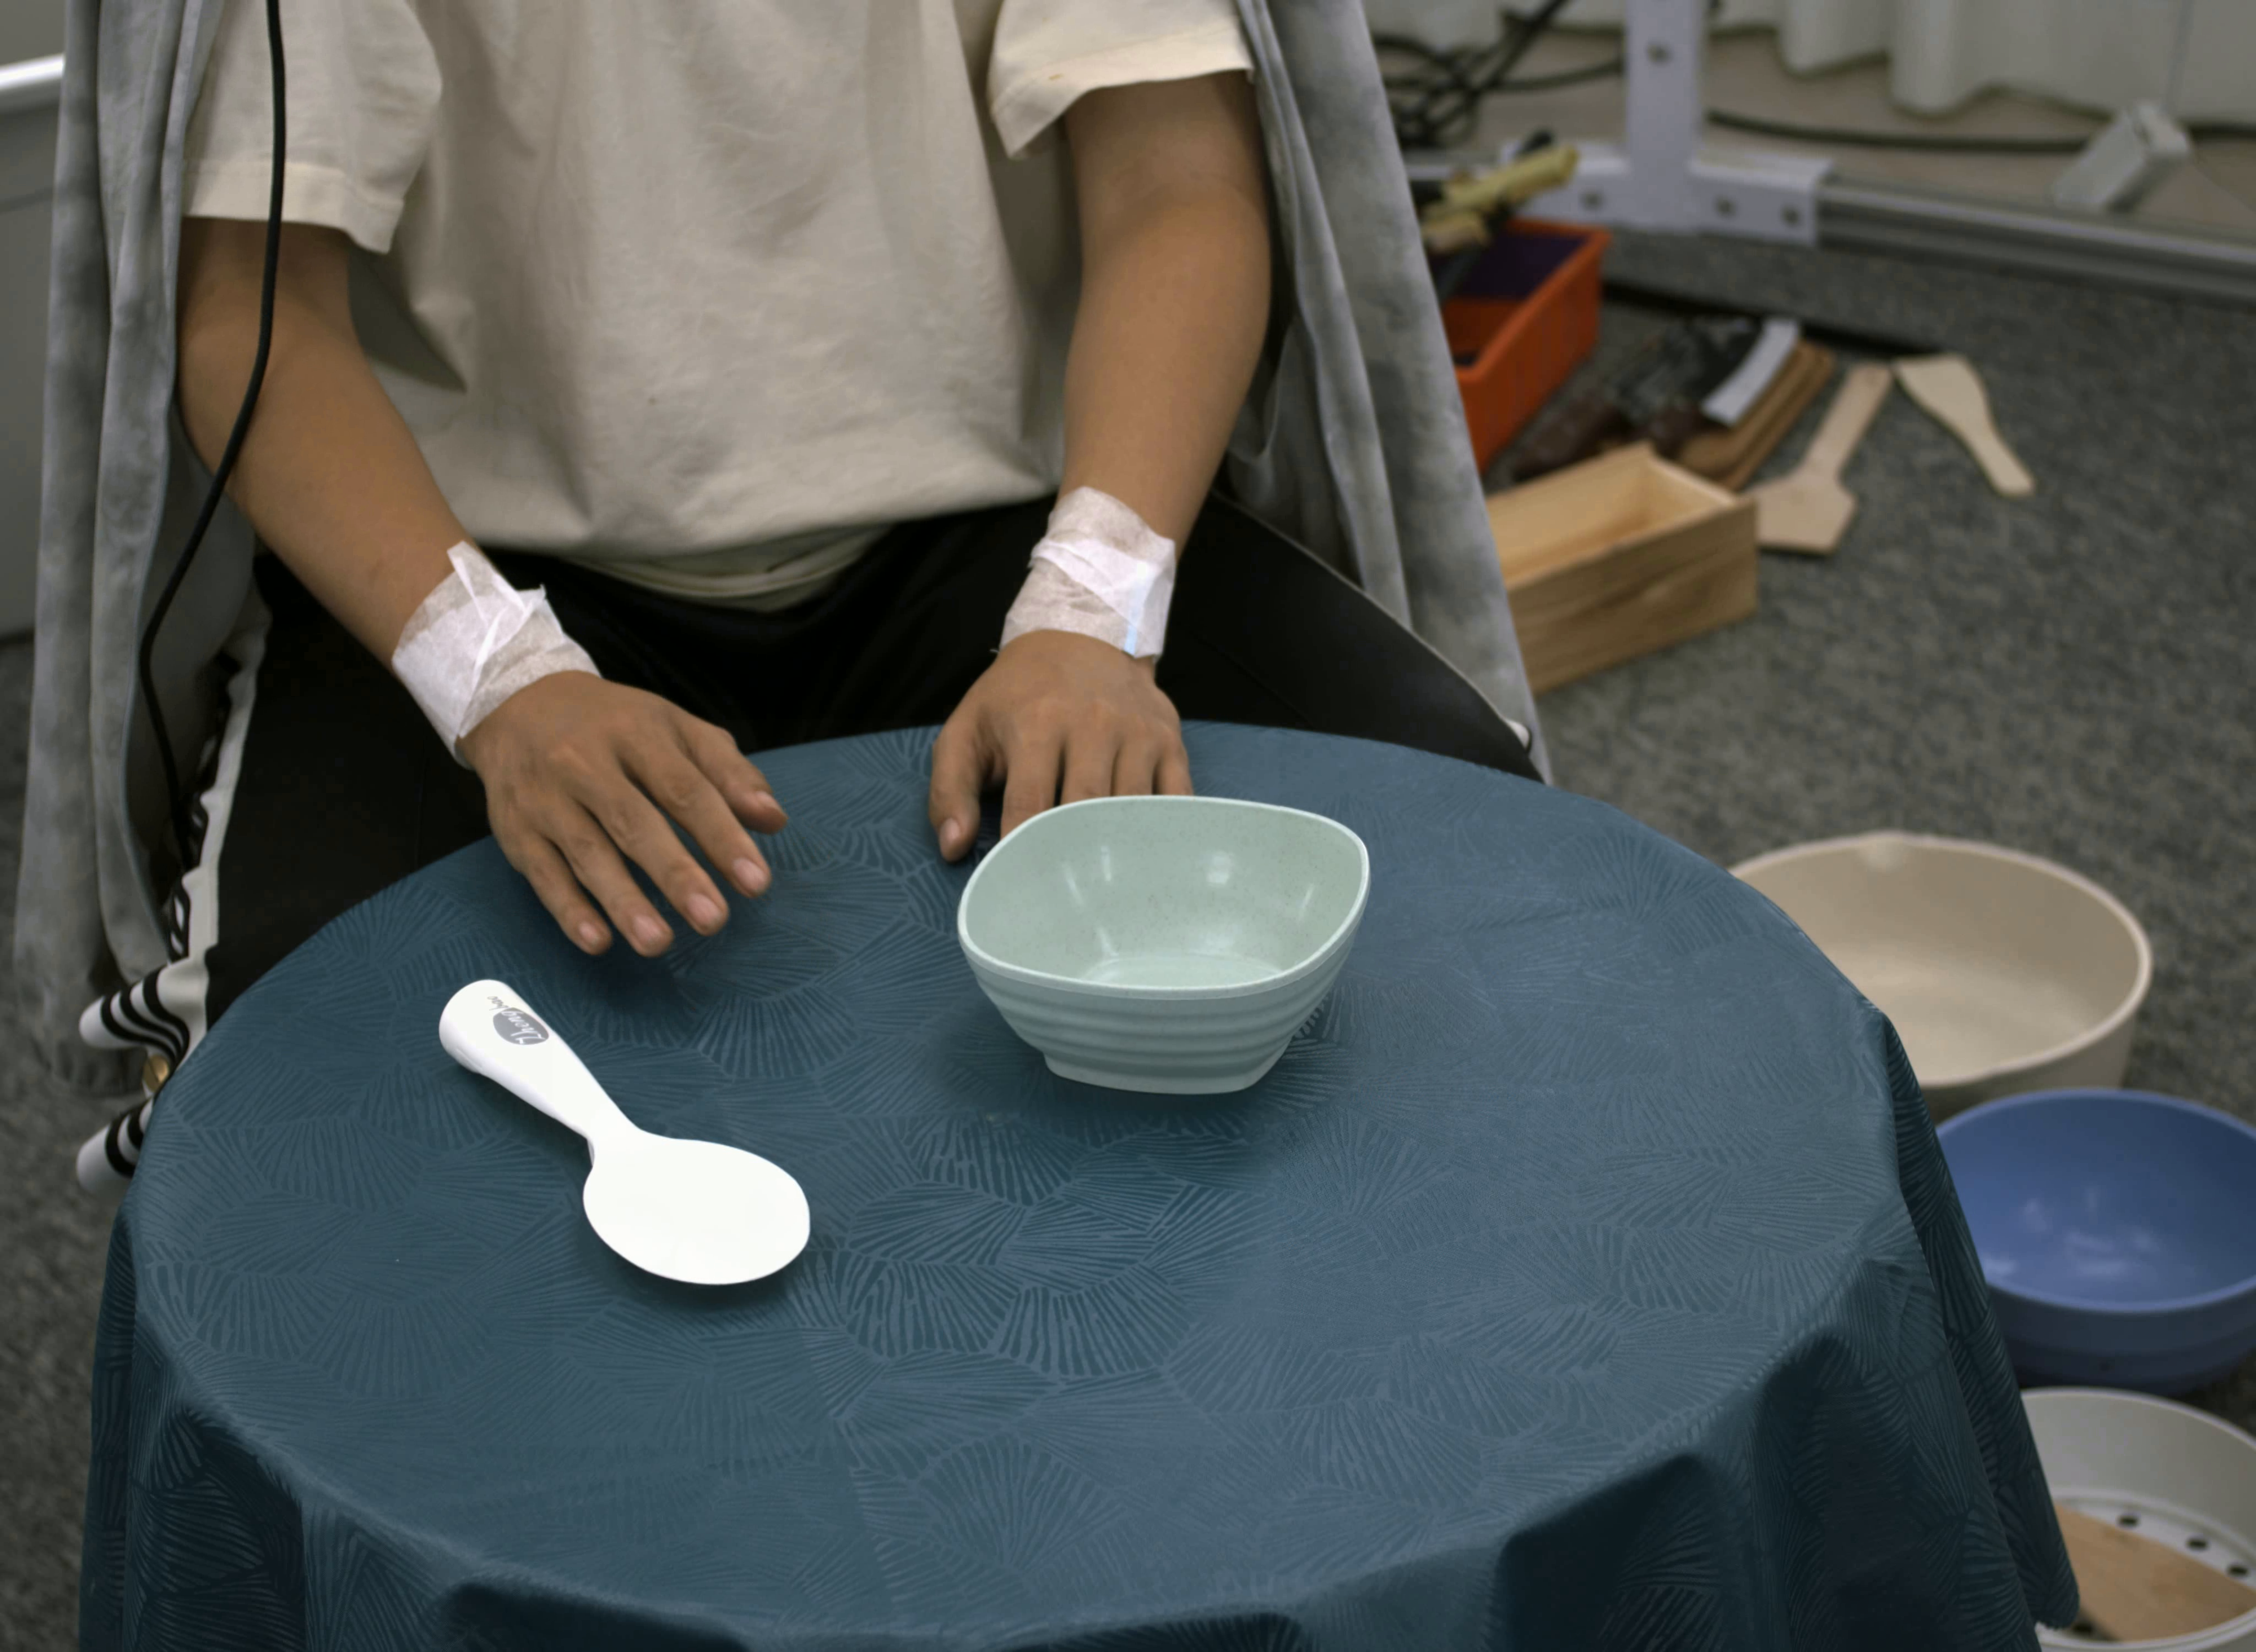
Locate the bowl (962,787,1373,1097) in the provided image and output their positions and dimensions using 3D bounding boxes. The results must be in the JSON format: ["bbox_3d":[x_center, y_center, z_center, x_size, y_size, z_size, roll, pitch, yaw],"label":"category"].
[{"bbox_3d":[0.016,0.046,1.940,0.150,0.058,0.154,-5,29,3],"label":"bowl"}]

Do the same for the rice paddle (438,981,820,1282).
[{"bbox_3d":[-0.170,0.104,1.879,0.069,0.029,0.206,-20,32,-27],"label":"rice paddle"}]
